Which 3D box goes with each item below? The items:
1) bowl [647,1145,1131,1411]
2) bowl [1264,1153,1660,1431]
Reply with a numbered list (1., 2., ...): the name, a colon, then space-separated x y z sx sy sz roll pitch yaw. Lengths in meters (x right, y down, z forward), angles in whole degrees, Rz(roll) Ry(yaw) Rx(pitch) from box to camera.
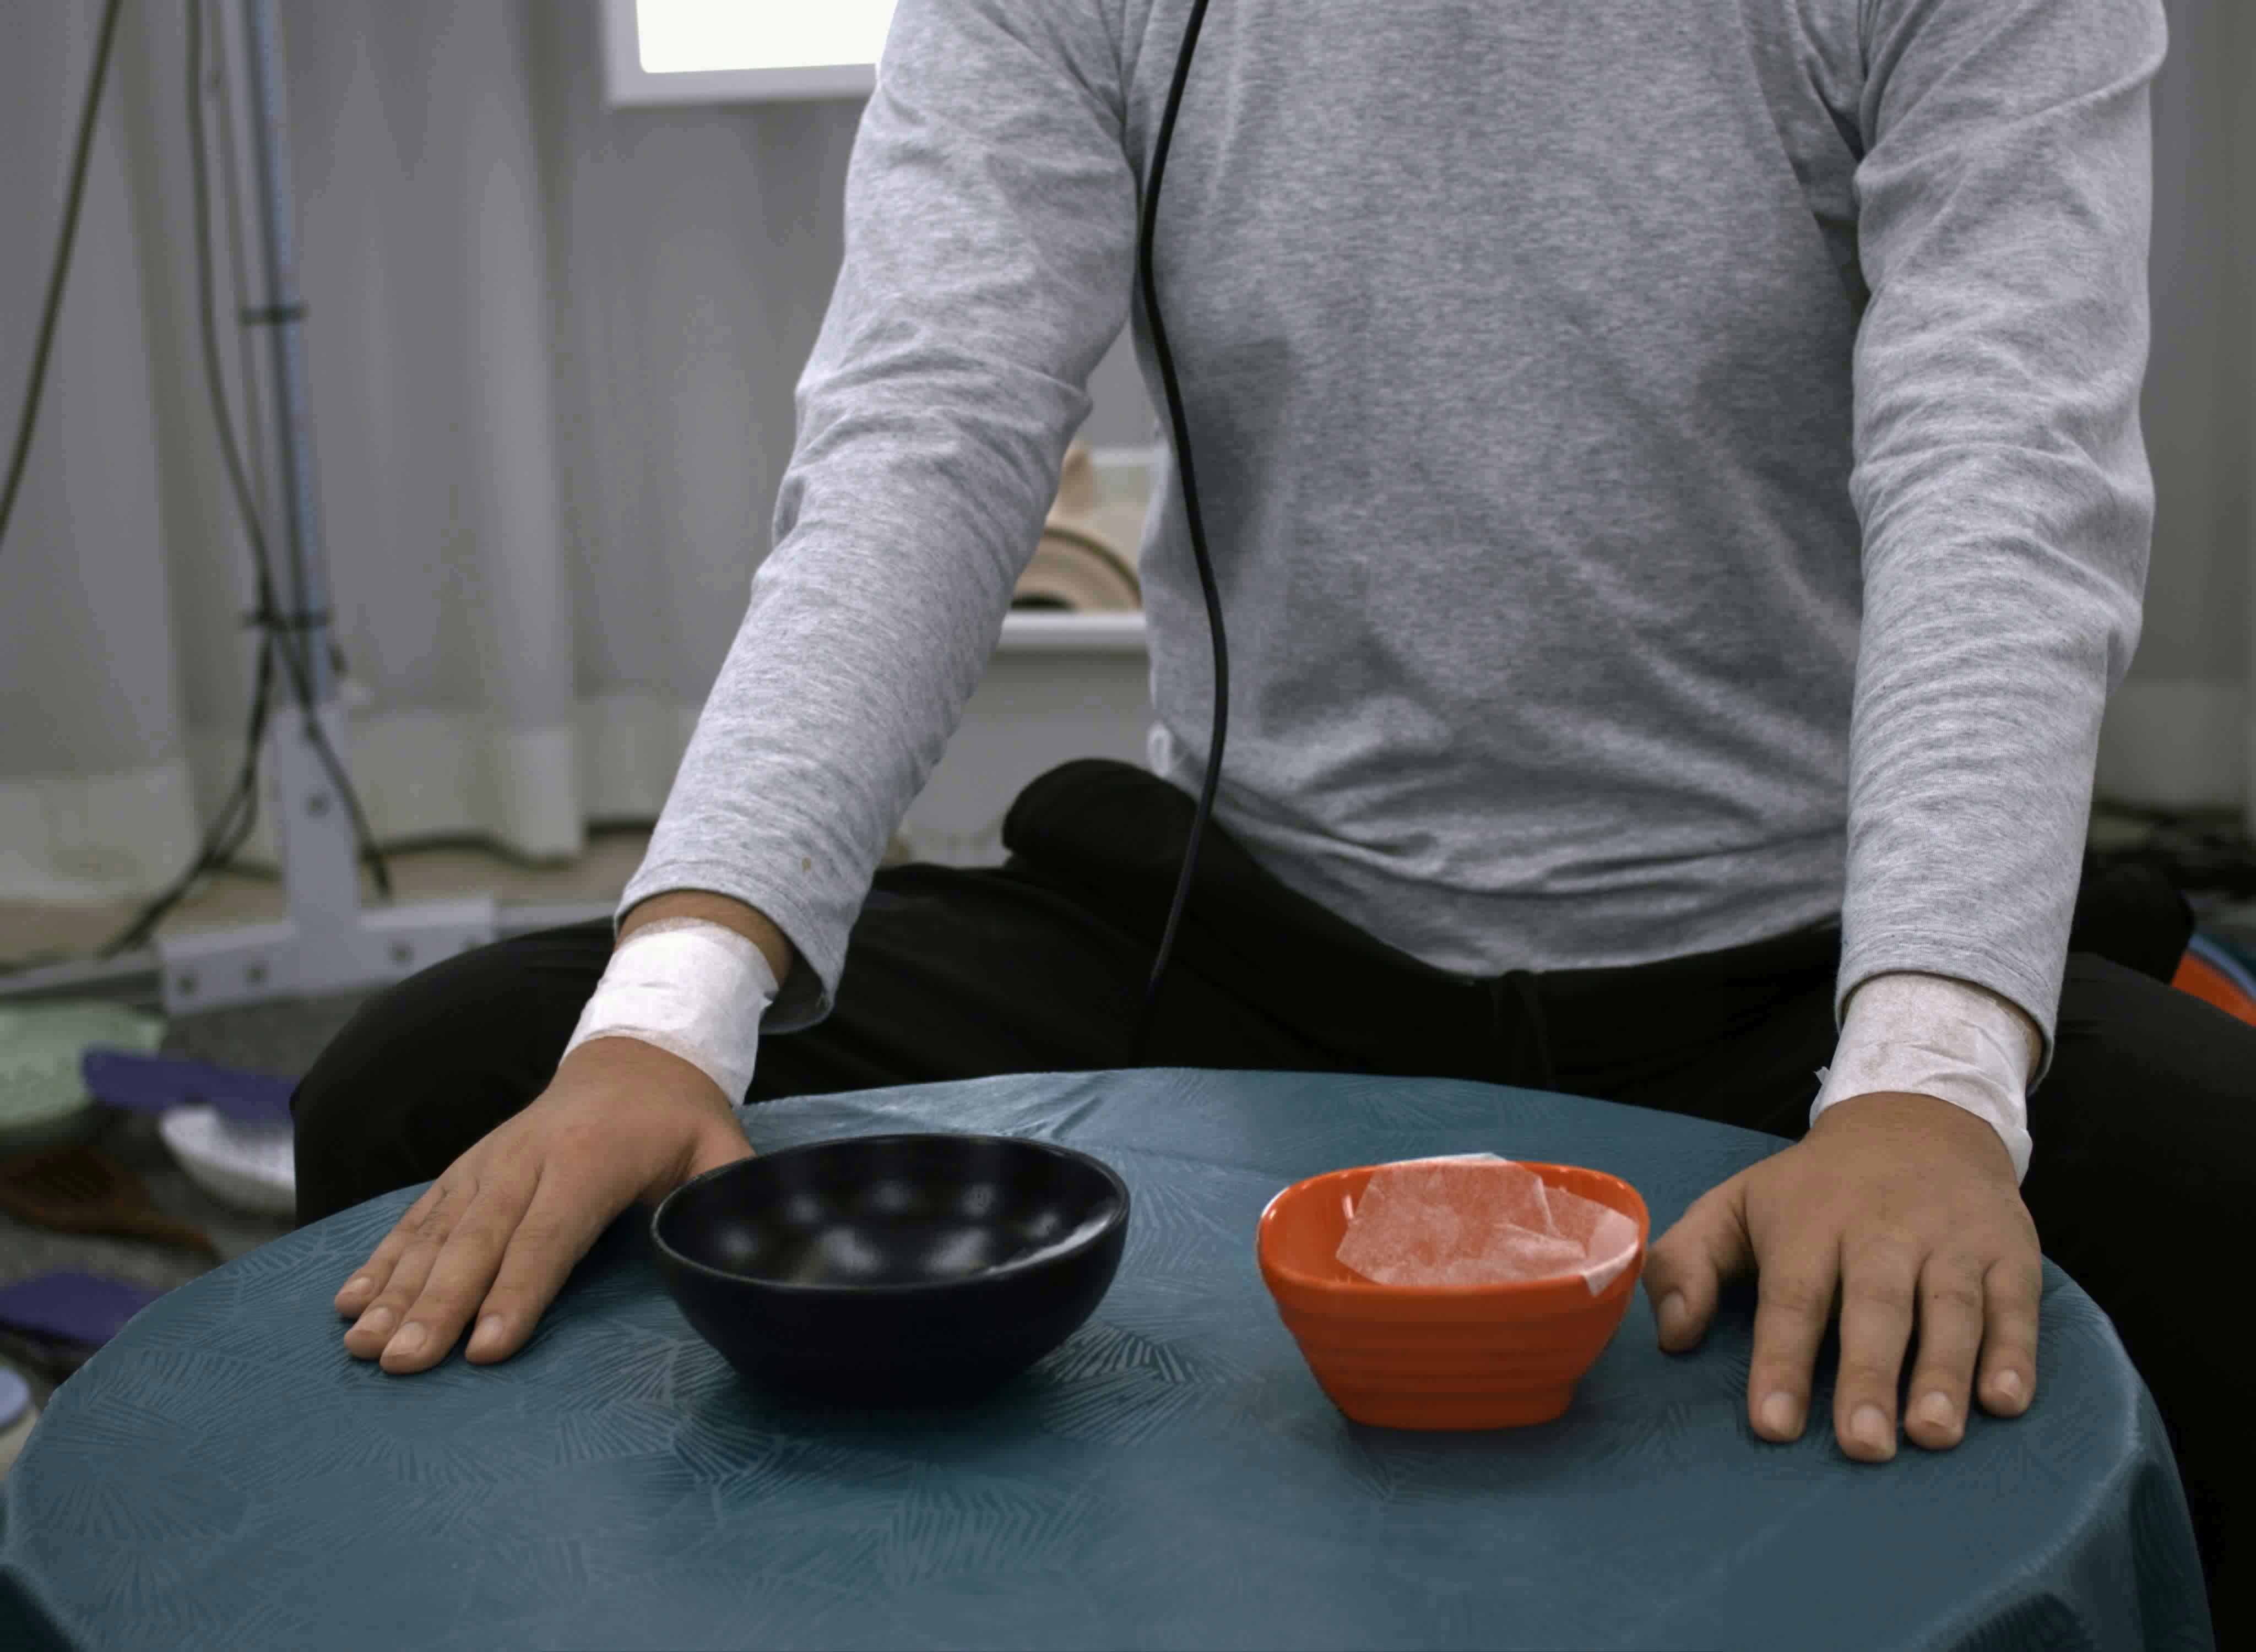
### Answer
1. bowl: -0.068 0.134 1.570 0.139 0.049 0.141 -1 12 0
2. bowl: 0.094 0.133 1.527 0.118 0.051 0.120 -4 16 1
